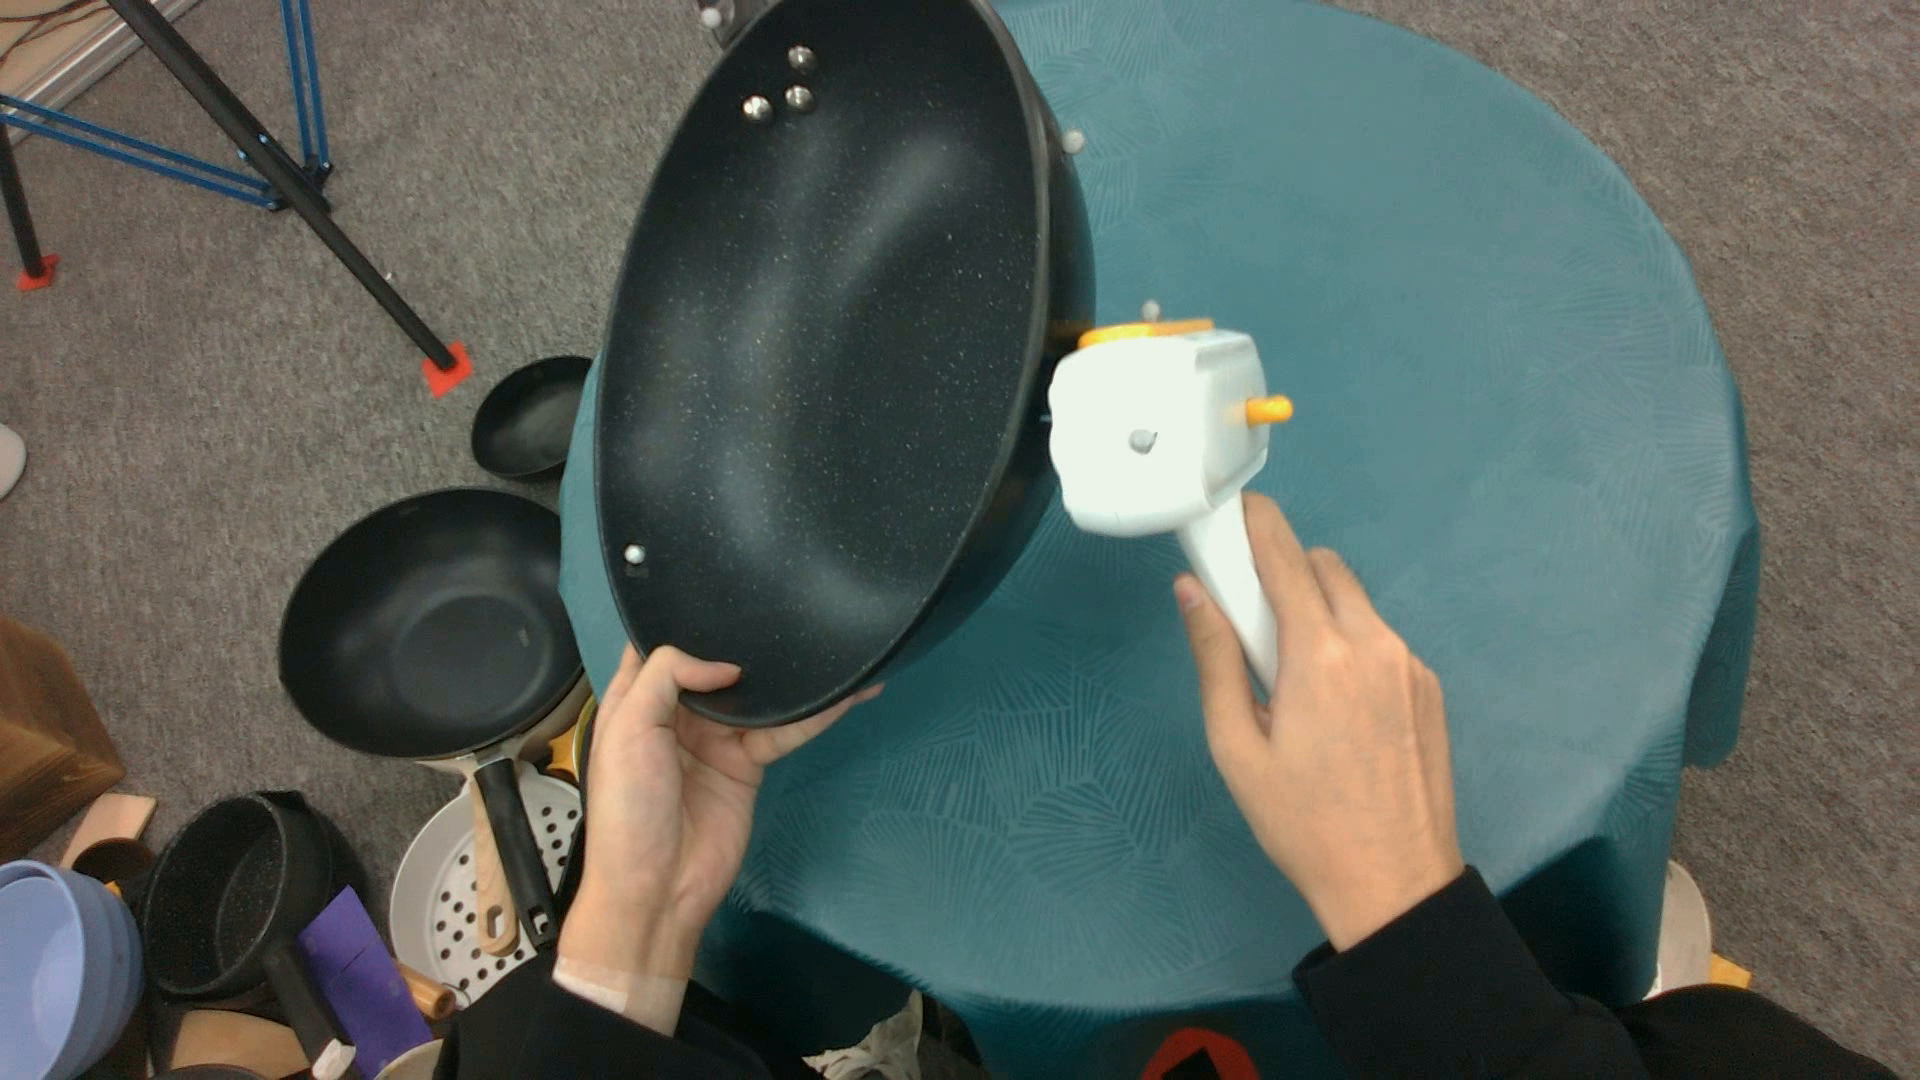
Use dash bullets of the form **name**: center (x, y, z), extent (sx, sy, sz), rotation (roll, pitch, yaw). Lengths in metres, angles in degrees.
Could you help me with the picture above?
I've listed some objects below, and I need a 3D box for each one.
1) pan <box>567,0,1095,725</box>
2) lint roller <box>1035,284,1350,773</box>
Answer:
- **pan**: center (-0.074, -0.153, 0.606), extent (0.309, 0.112, 0.478), rotation (-30, 61, 38)
- **lint roller**: center (0.094, 0.000, 0.516), extent (0.074, 0.193, 0.192), rotation (-15, 99, 15)
